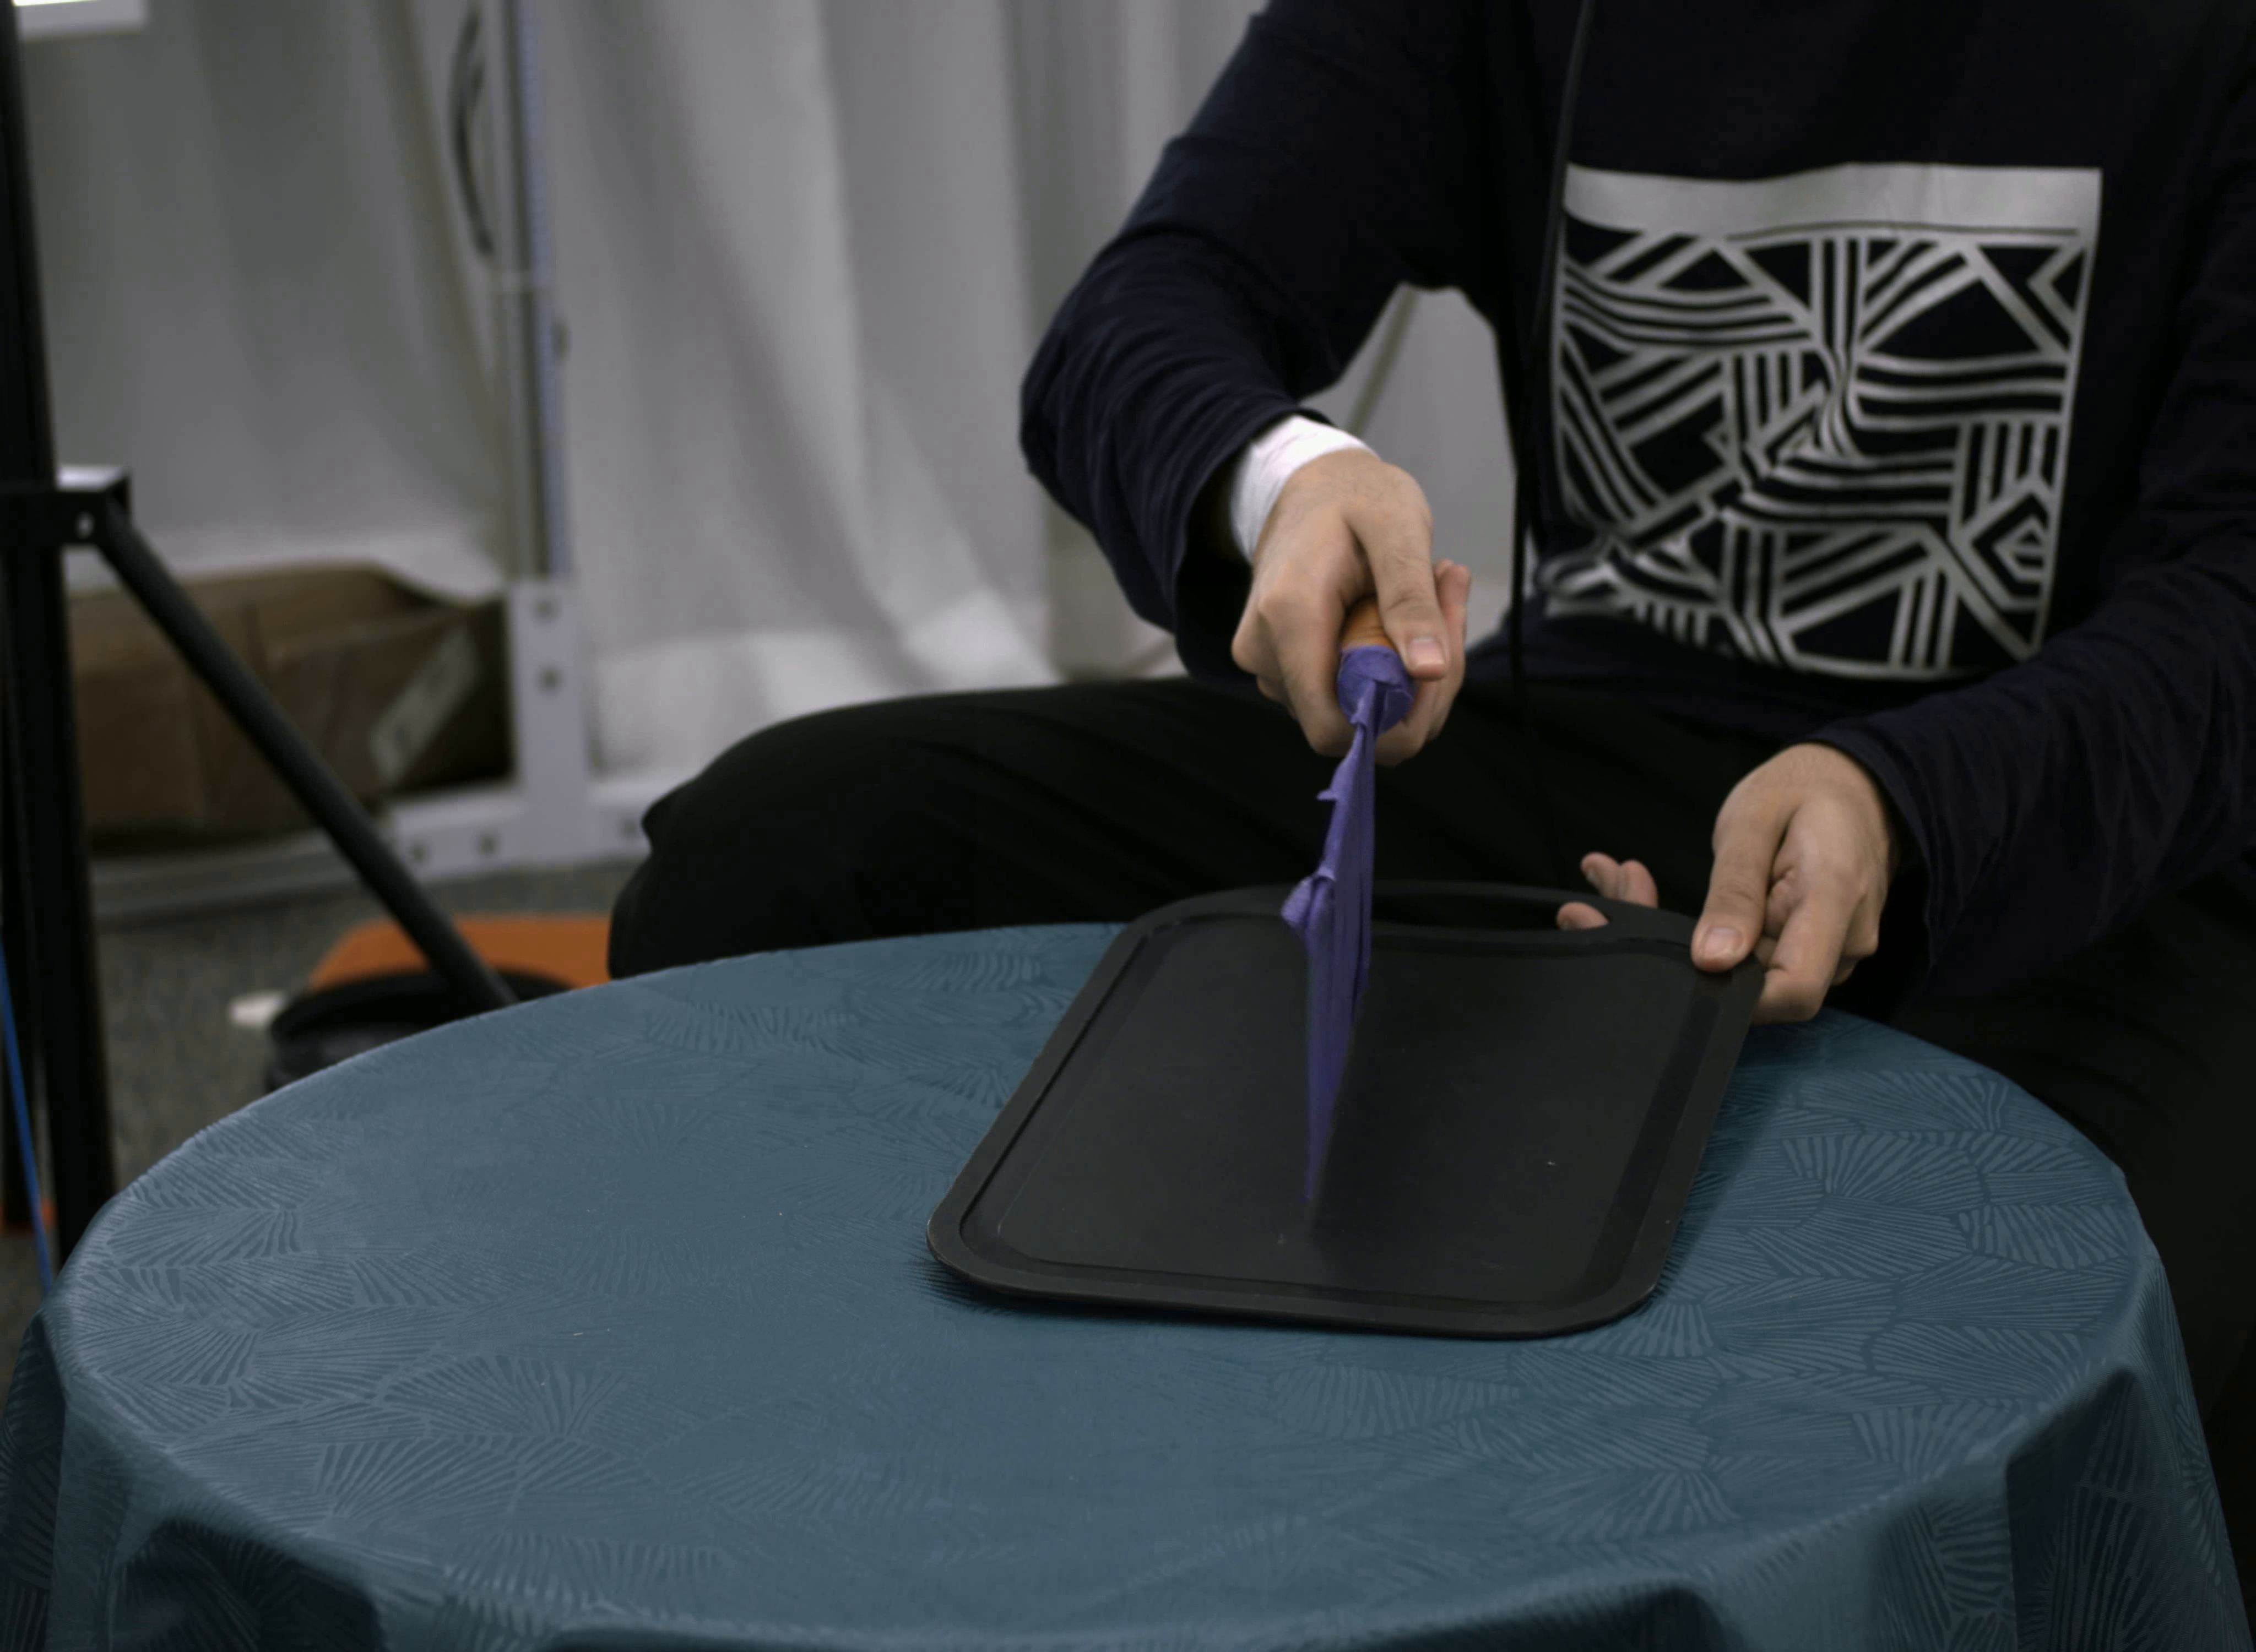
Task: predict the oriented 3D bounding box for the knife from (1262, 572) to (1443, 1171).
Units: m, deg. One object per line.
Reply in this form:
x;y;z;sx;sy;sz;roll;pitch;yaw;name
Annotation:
0.066;0.011;1.625;0.032;0.104;0.314;5;21;8;knife

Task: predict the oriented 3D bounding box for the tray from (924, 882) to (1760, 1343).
0.072;0.076;1.594;0.213;0.010;0.323;4;22;15;tray
